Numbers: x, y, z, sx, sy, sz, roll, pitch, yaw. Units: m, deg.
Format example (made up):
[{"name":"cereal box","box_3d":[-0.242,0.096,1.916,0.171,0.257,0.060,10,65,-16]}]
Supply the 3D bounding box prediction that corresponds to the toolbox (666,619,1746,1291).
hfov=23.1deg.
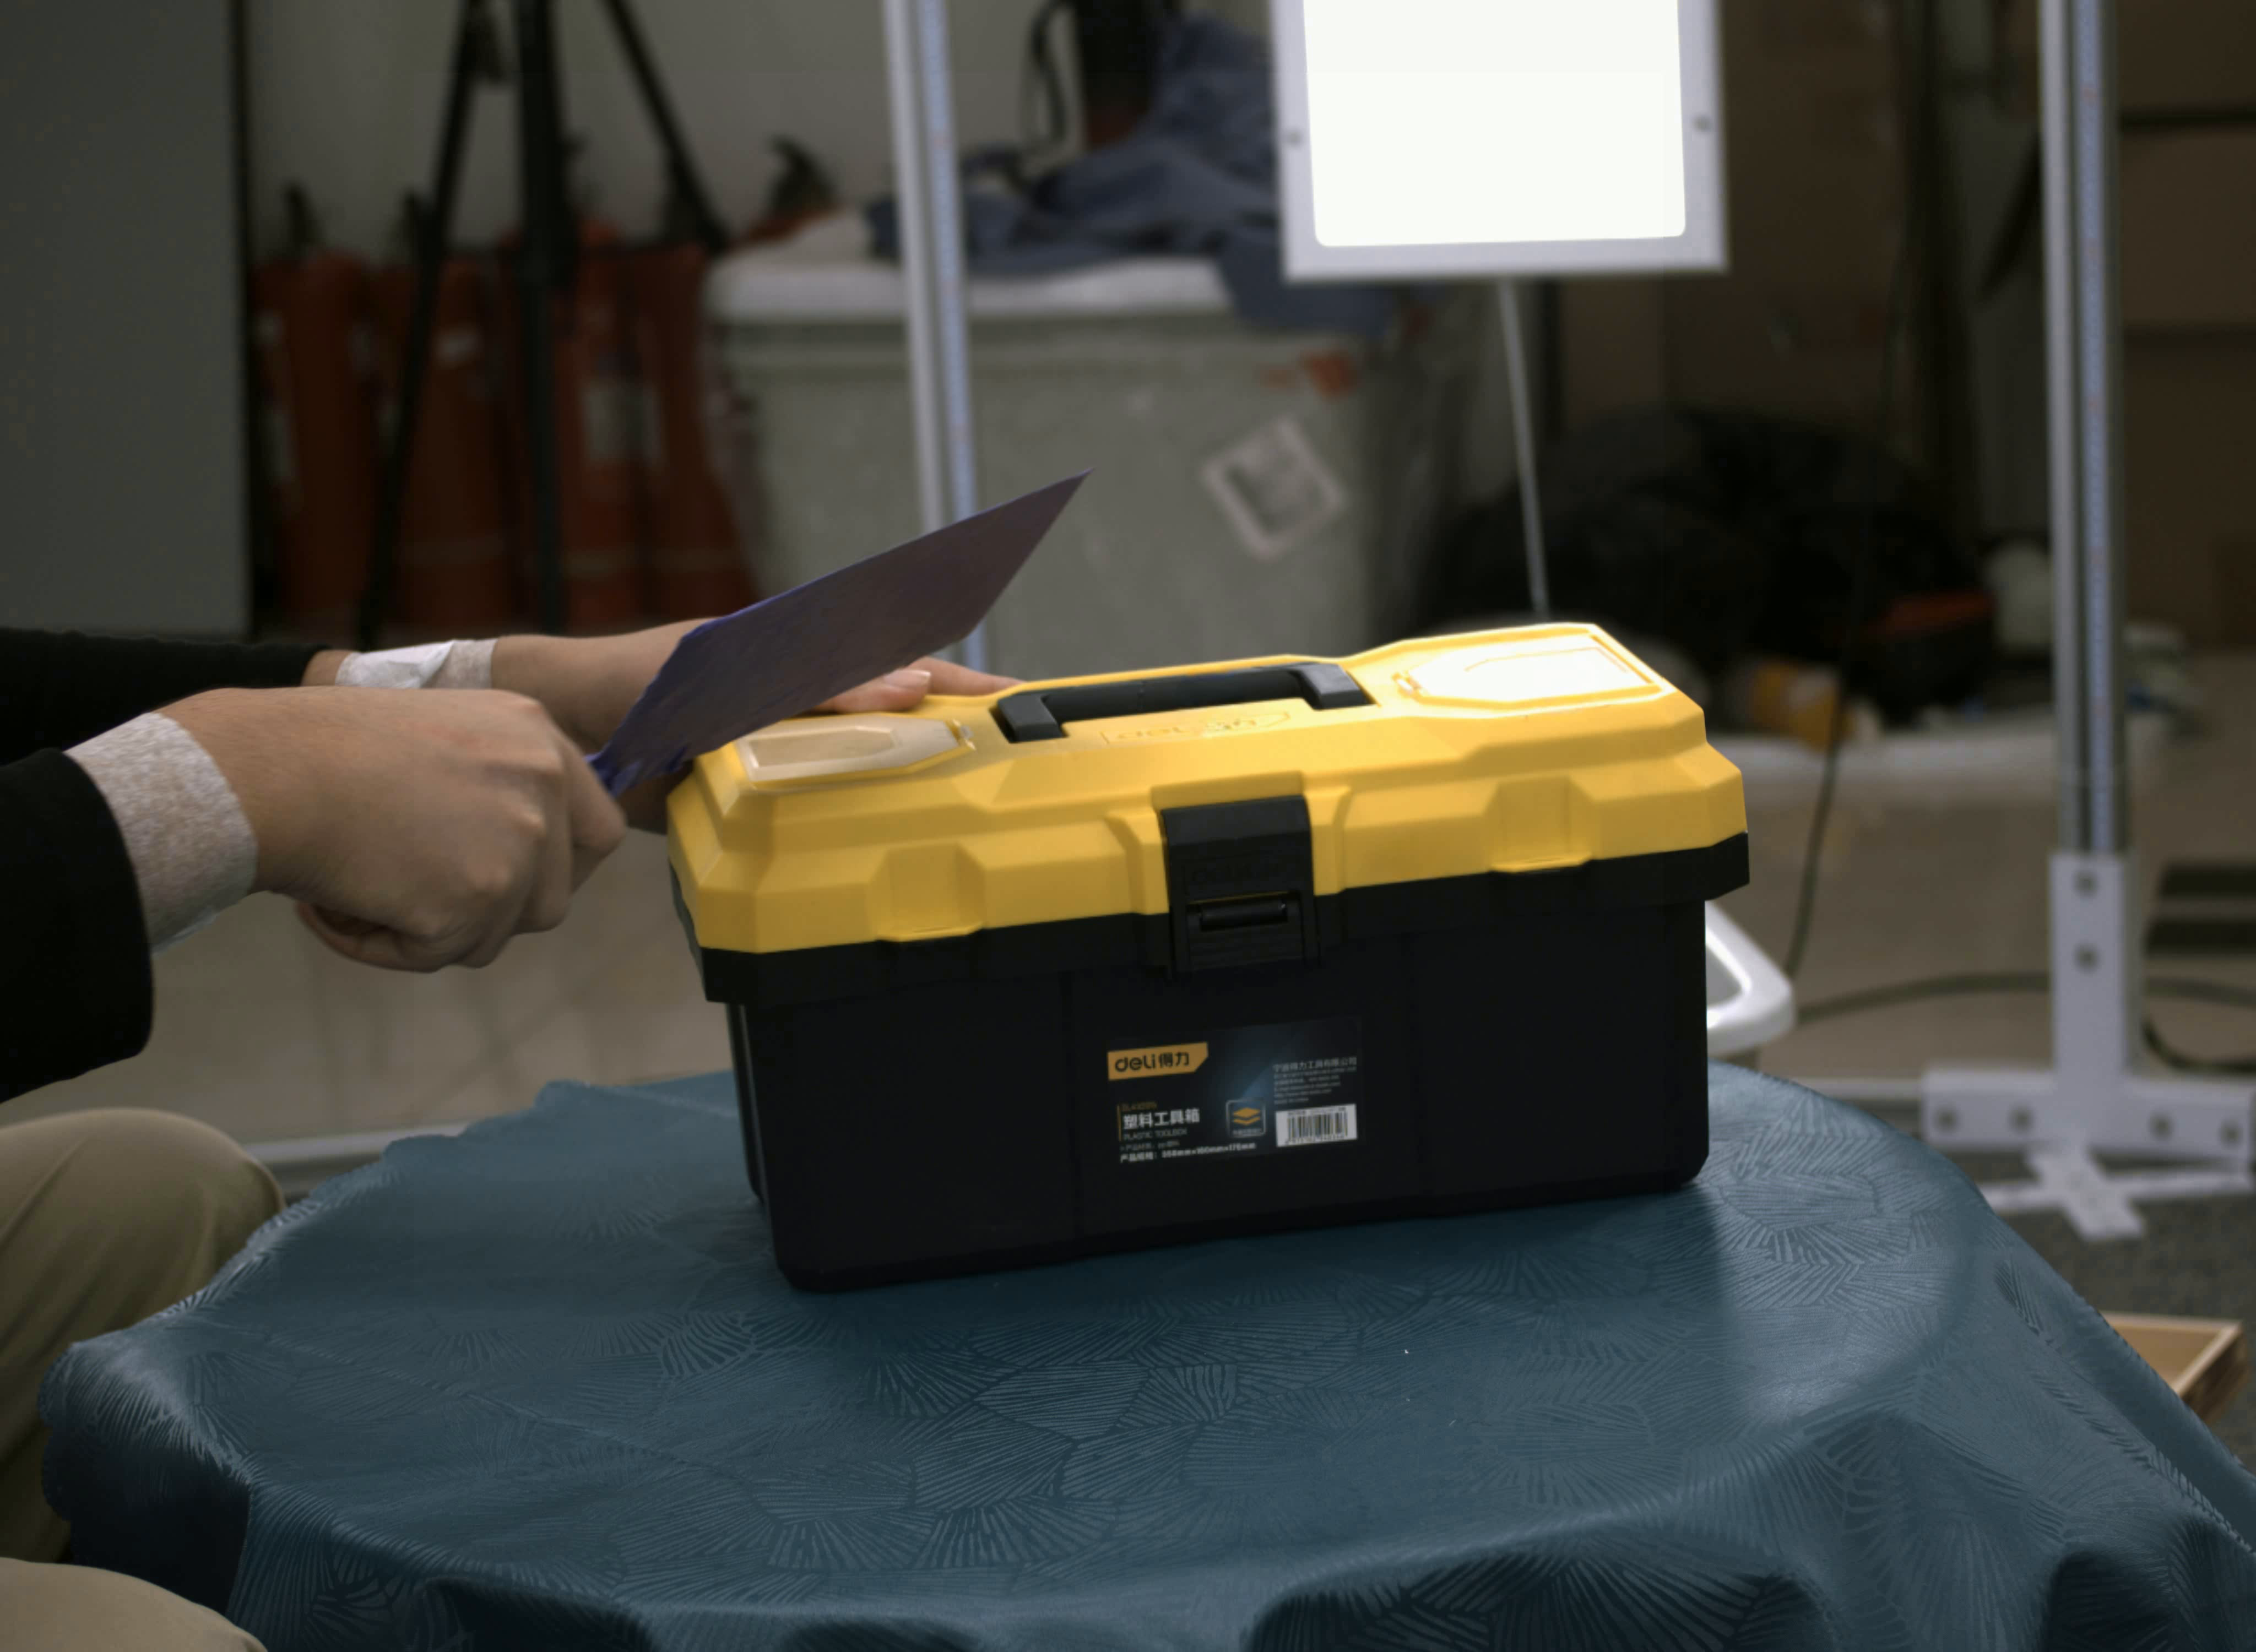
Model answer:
[{"name":"toolbox","box_3d":[0.026,0.042,1.869,0.349,0.173,0.182,-7,13,-5]}]

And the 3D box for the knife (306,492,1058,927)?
[{"name":"knife","box_3d":[-0.133,-0.047,1.739,0.032,0.106,0.308,48,39,12]}]
